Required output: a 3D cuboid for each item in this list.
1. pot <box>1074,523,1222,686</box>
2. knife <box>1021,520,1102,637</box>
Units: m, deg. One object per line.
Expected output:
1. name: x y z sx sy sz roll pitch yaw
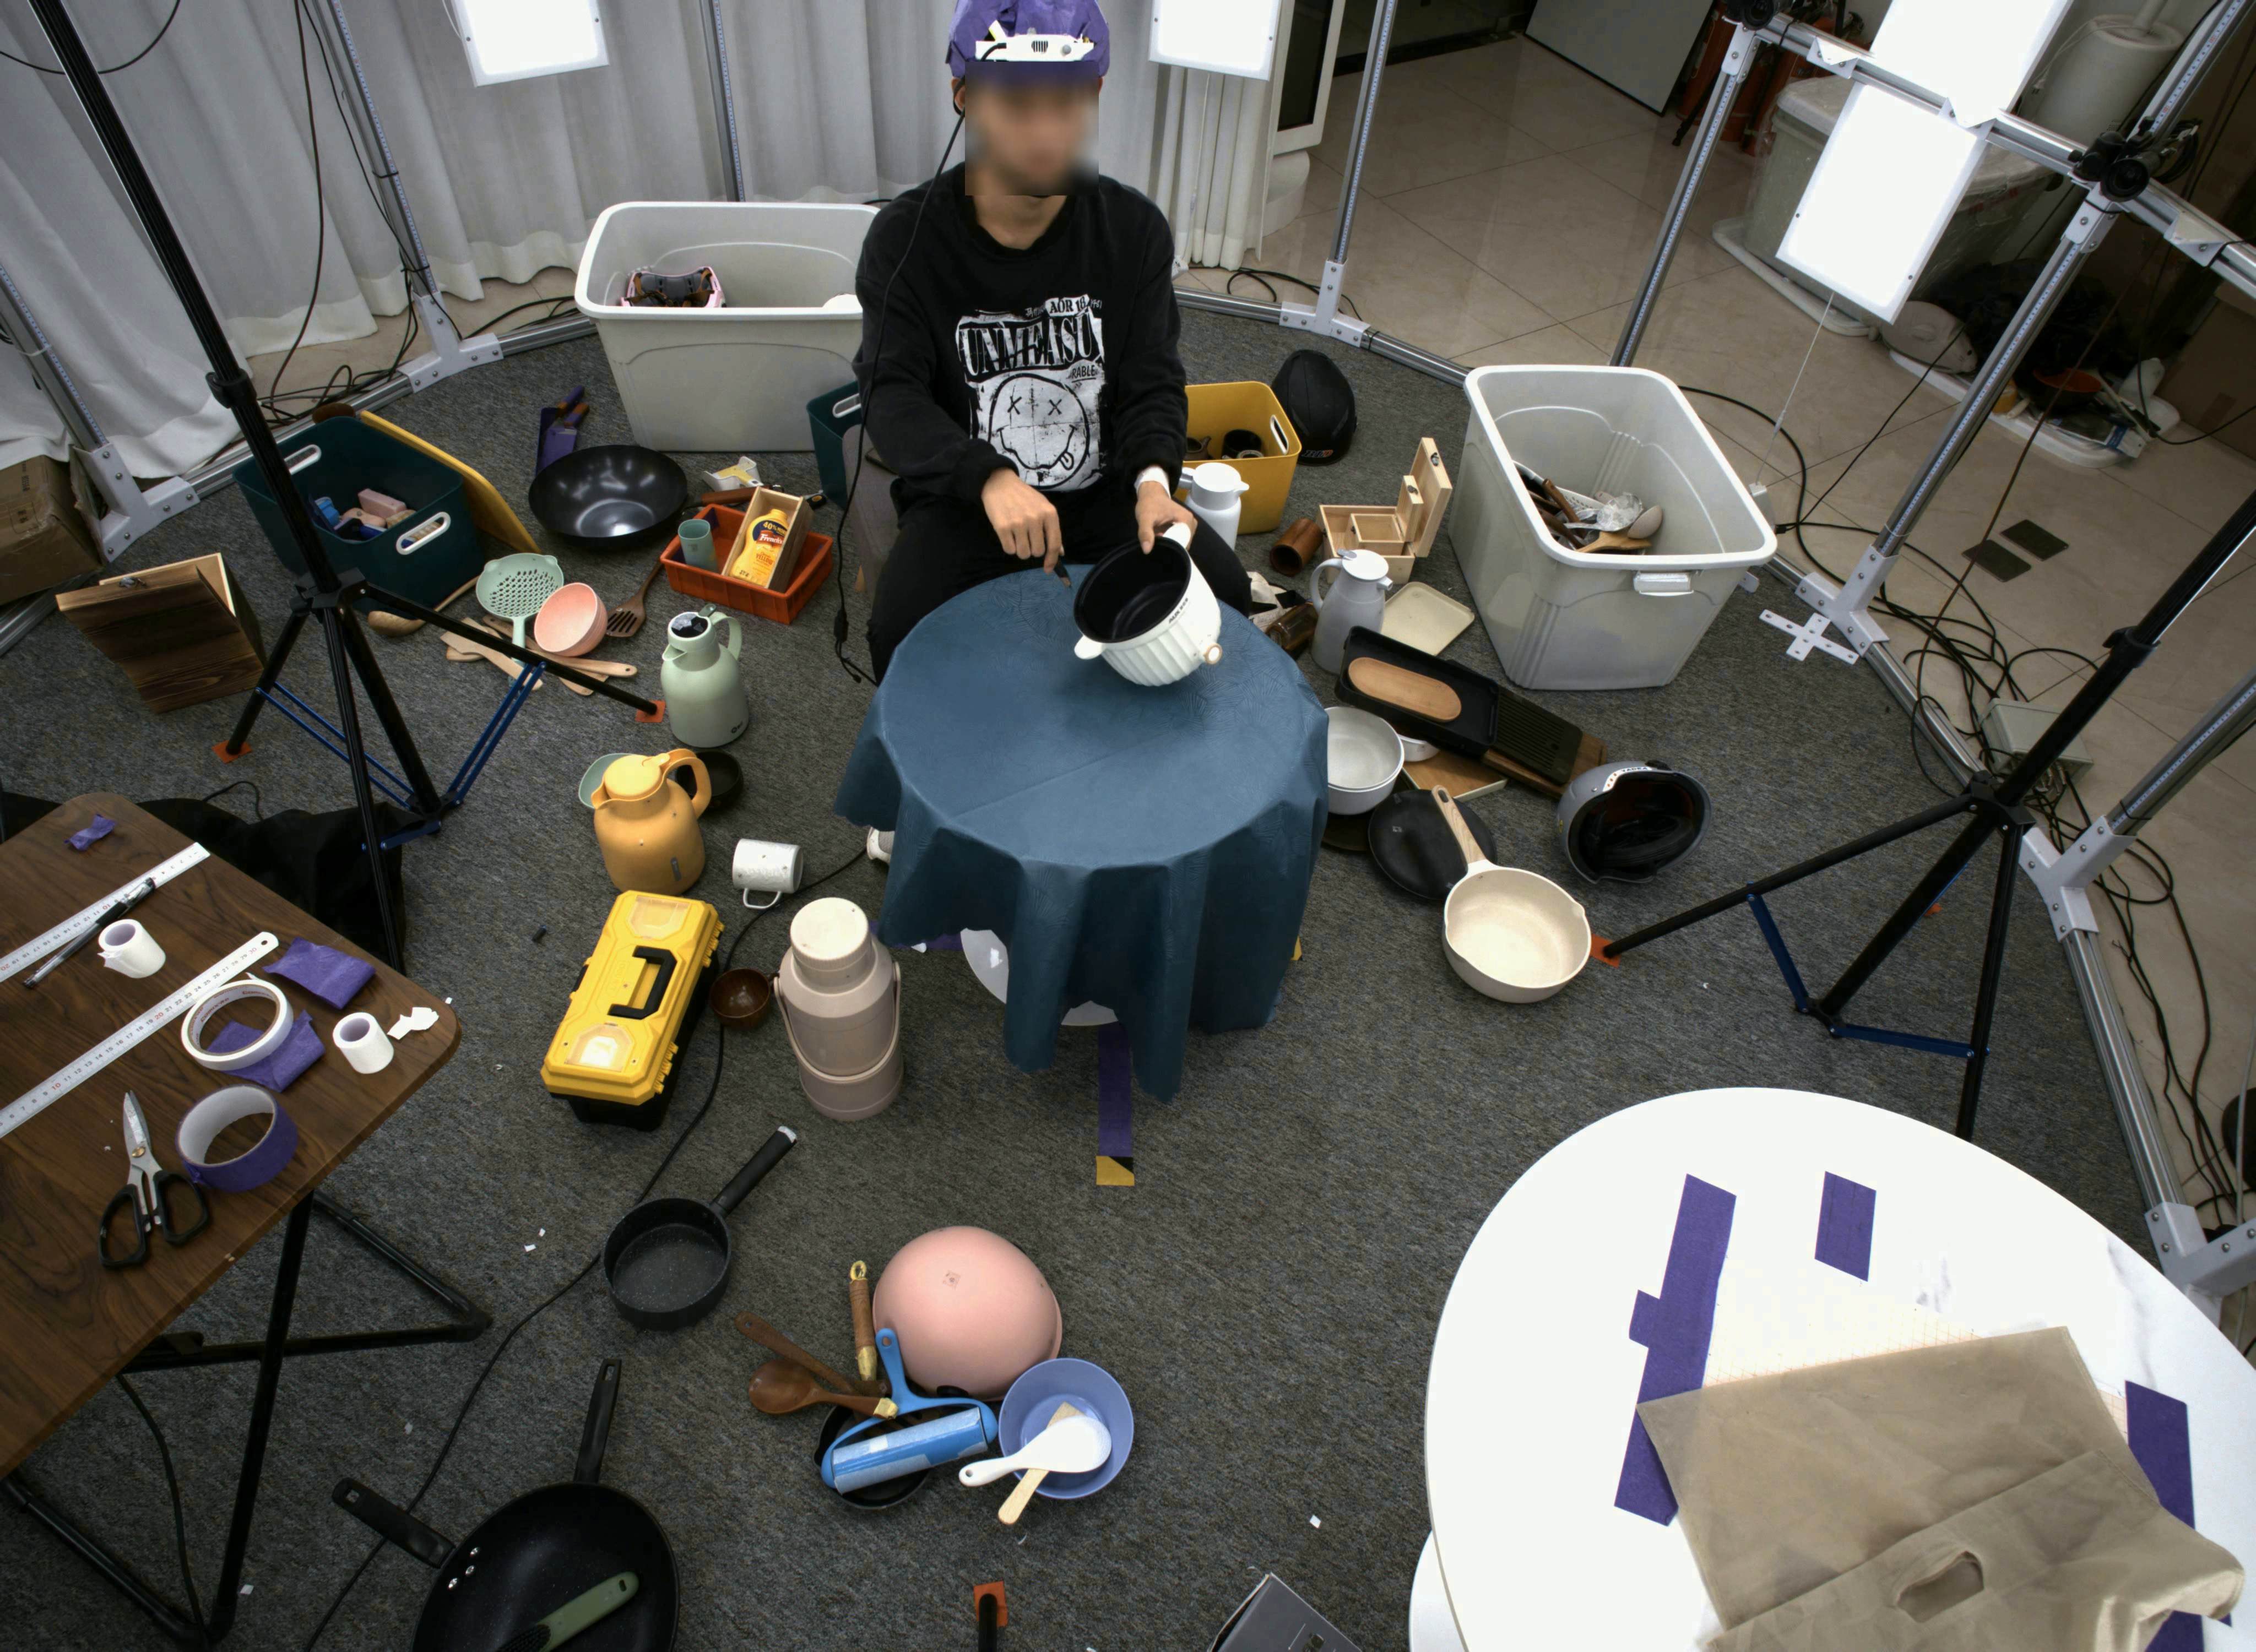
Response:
1. pot: 0.040 -0.293 1.806 0.193 0.140 0.241 28 78 46
2. knife: -0.084 -0.332 1.772 0.017 0.221 0.027 -39 36 -3
